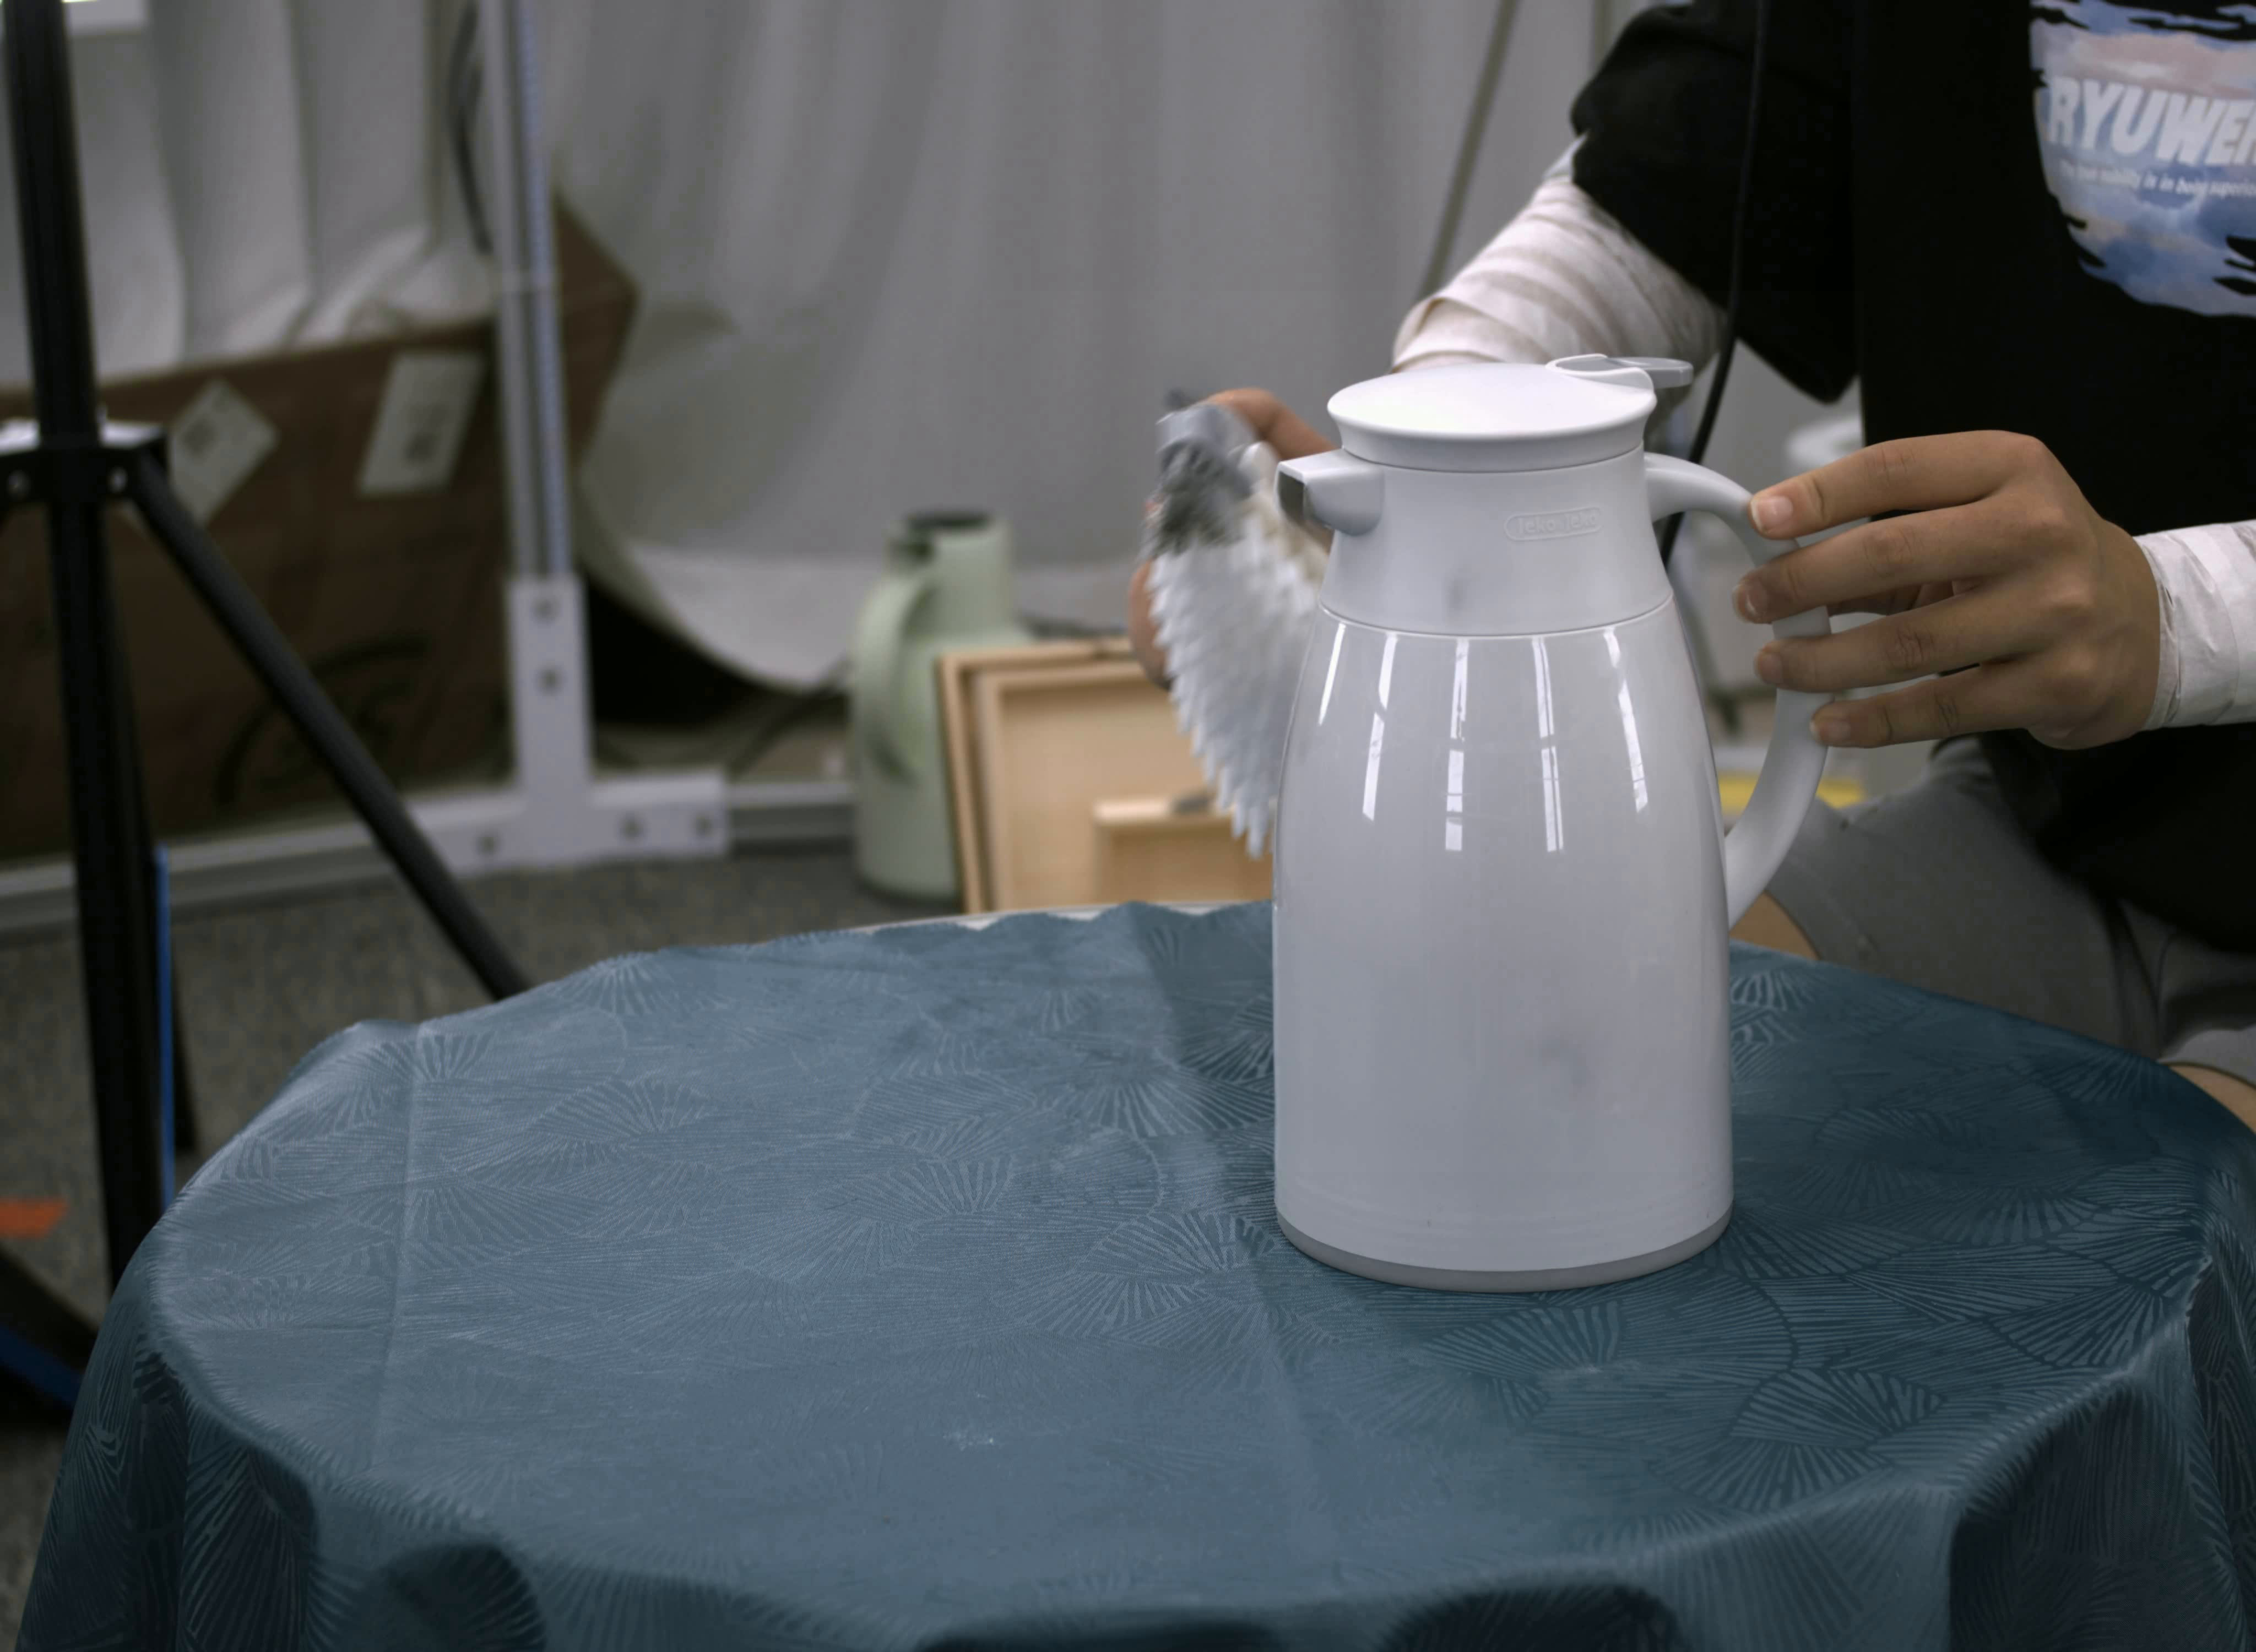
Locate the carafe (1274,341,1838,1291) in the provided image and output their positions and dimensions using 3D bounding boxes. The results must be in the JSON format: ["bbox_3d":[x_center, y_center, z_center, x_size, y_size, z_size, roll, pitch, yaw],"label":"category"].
[{"bbox_3d":[0.122,-0.011,1.503,0.164,0.248,0.135,-7,16,-20],"label":"carafe"}]

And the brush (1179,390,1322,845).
[{"bbox_3d":[0.045,-0.079,1.620,0.061,0.172,0.095,-16,52,8],"label":"brush"}]
